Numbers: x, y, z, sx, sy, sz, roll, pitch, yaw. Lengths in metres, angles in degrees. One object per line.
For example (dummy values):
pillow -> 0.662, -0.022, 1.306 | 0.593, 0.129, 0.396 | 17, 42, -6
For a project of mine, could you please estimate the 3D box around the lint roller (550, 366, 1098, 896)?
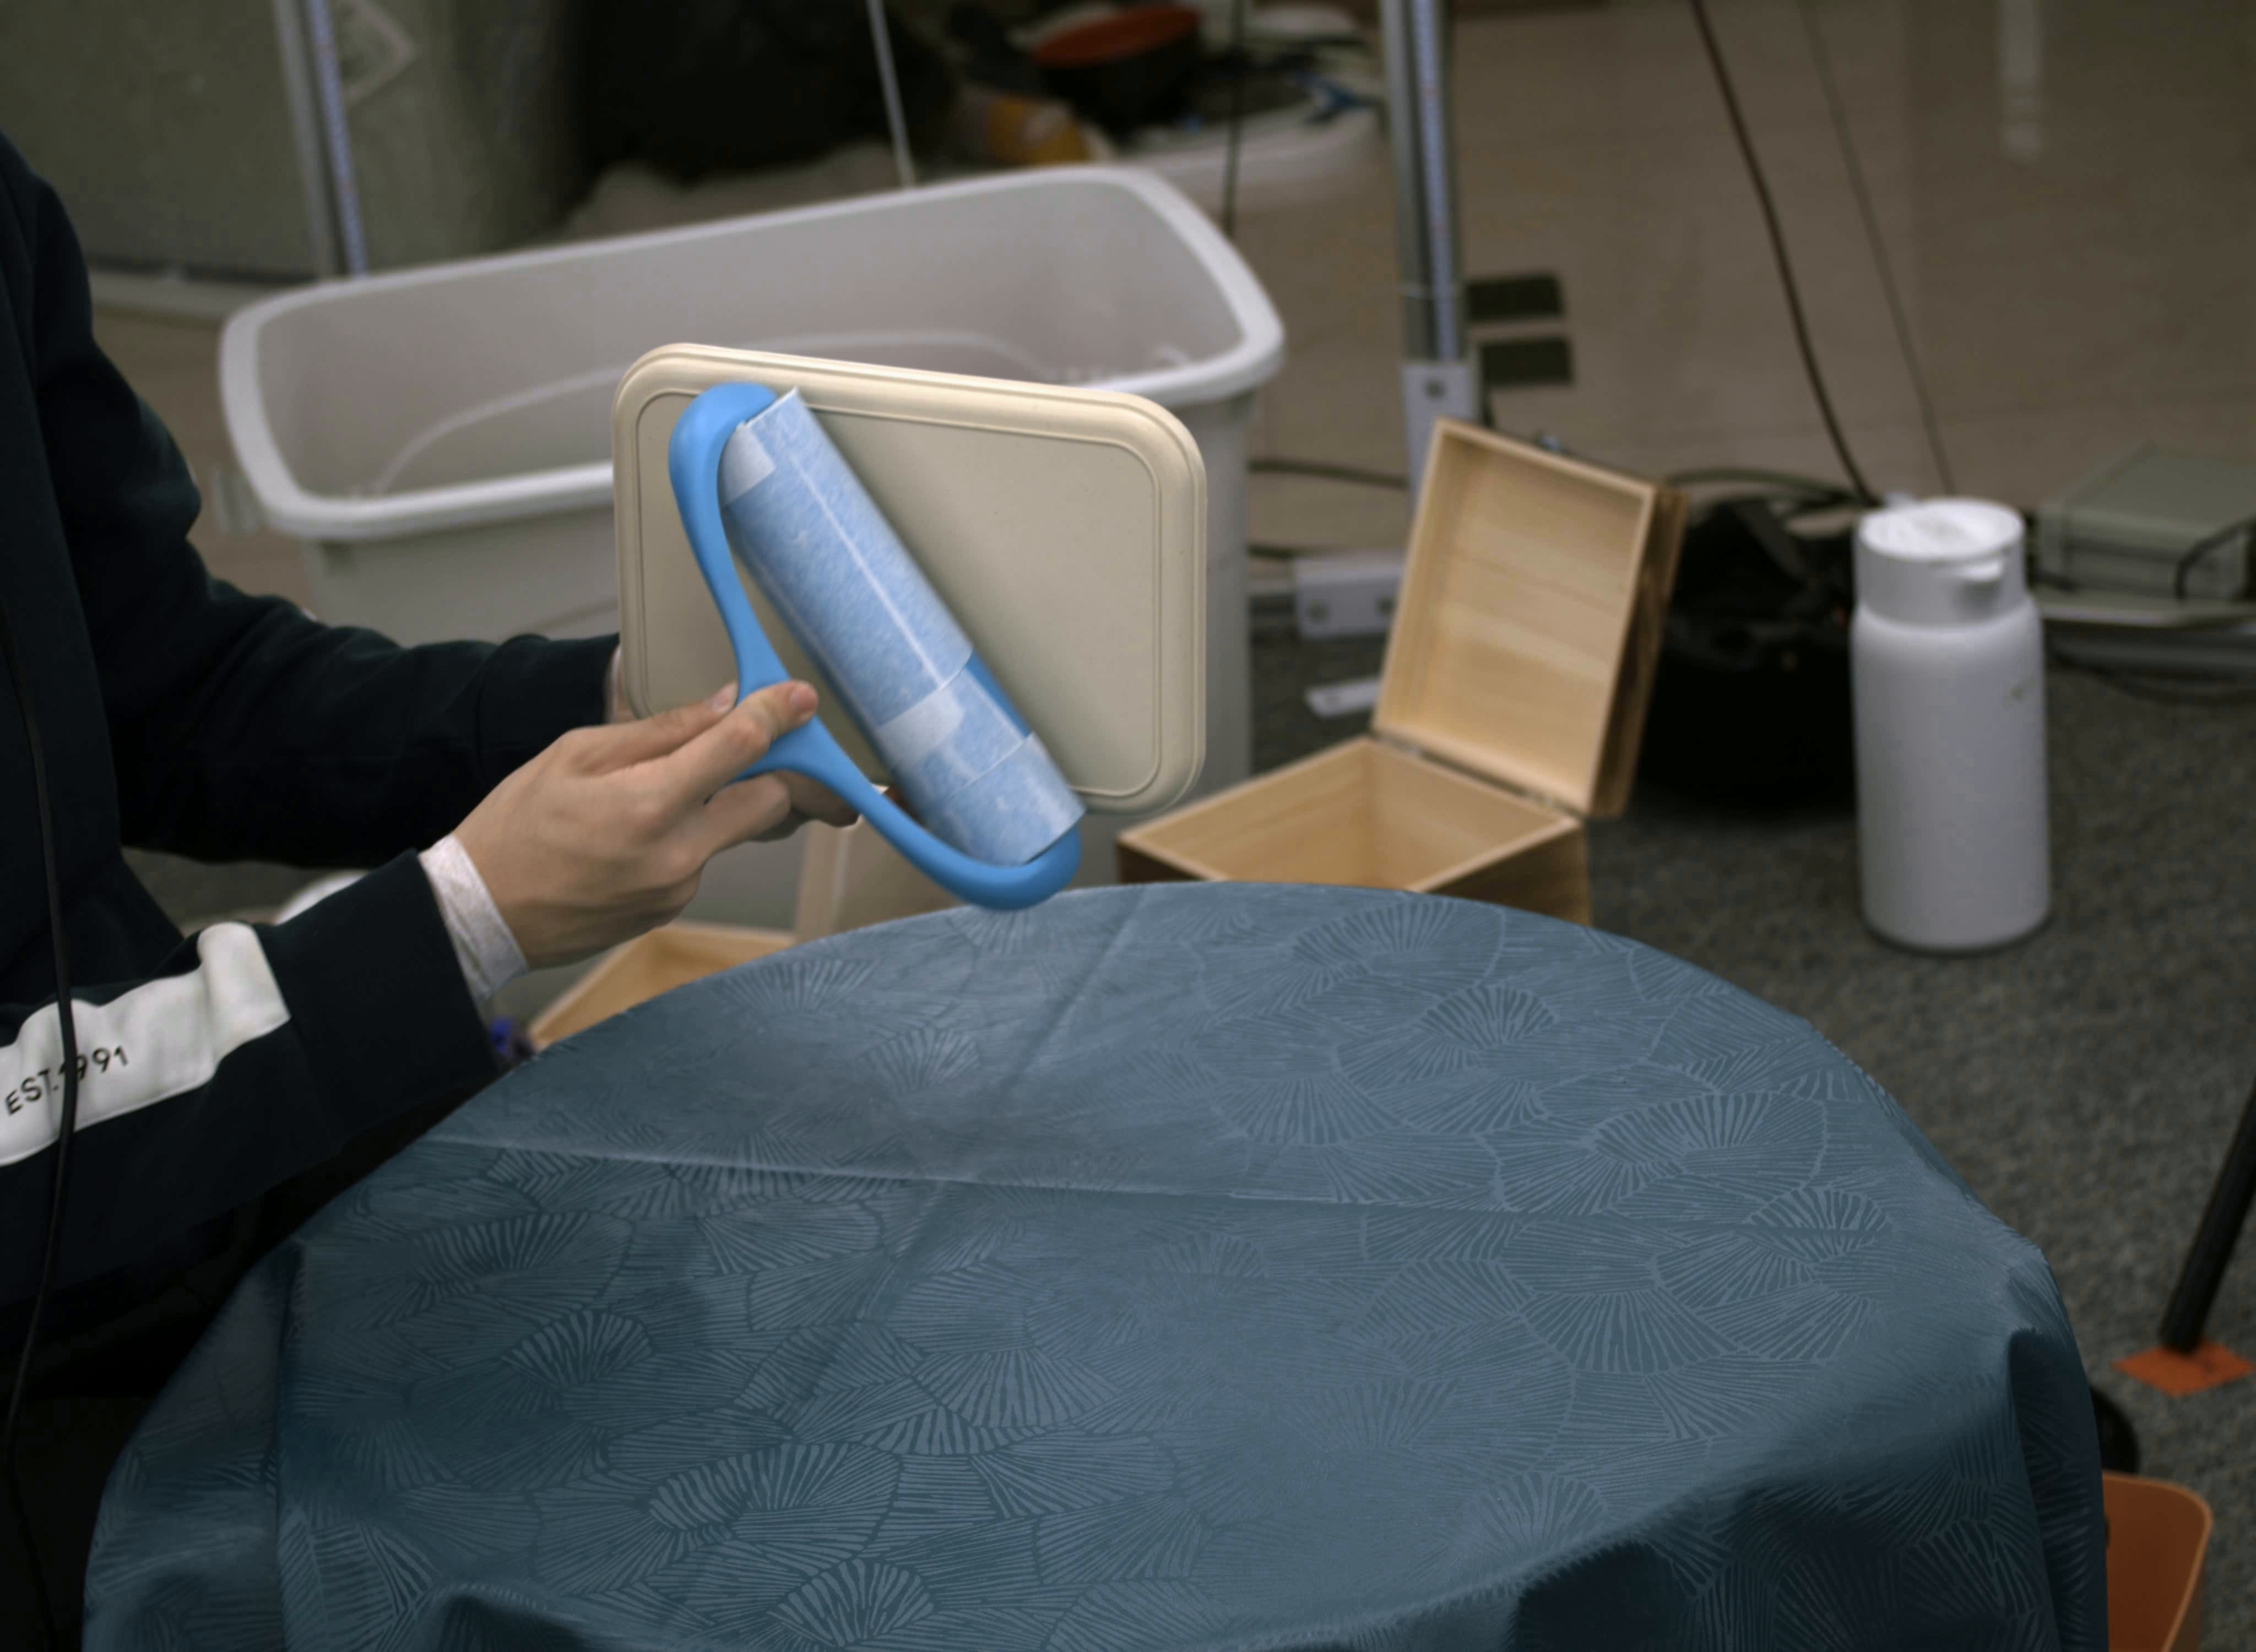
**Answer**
lint roller -> -0.132, -0.037, 2.084 | 0.179, 0.230, 0.068 | -40, 10, -13

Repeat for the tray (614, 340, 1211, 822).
tray -> -0.084, -0.090, 2.128 | 0.239, 0.174, 0.017 | 8, 26, 17
